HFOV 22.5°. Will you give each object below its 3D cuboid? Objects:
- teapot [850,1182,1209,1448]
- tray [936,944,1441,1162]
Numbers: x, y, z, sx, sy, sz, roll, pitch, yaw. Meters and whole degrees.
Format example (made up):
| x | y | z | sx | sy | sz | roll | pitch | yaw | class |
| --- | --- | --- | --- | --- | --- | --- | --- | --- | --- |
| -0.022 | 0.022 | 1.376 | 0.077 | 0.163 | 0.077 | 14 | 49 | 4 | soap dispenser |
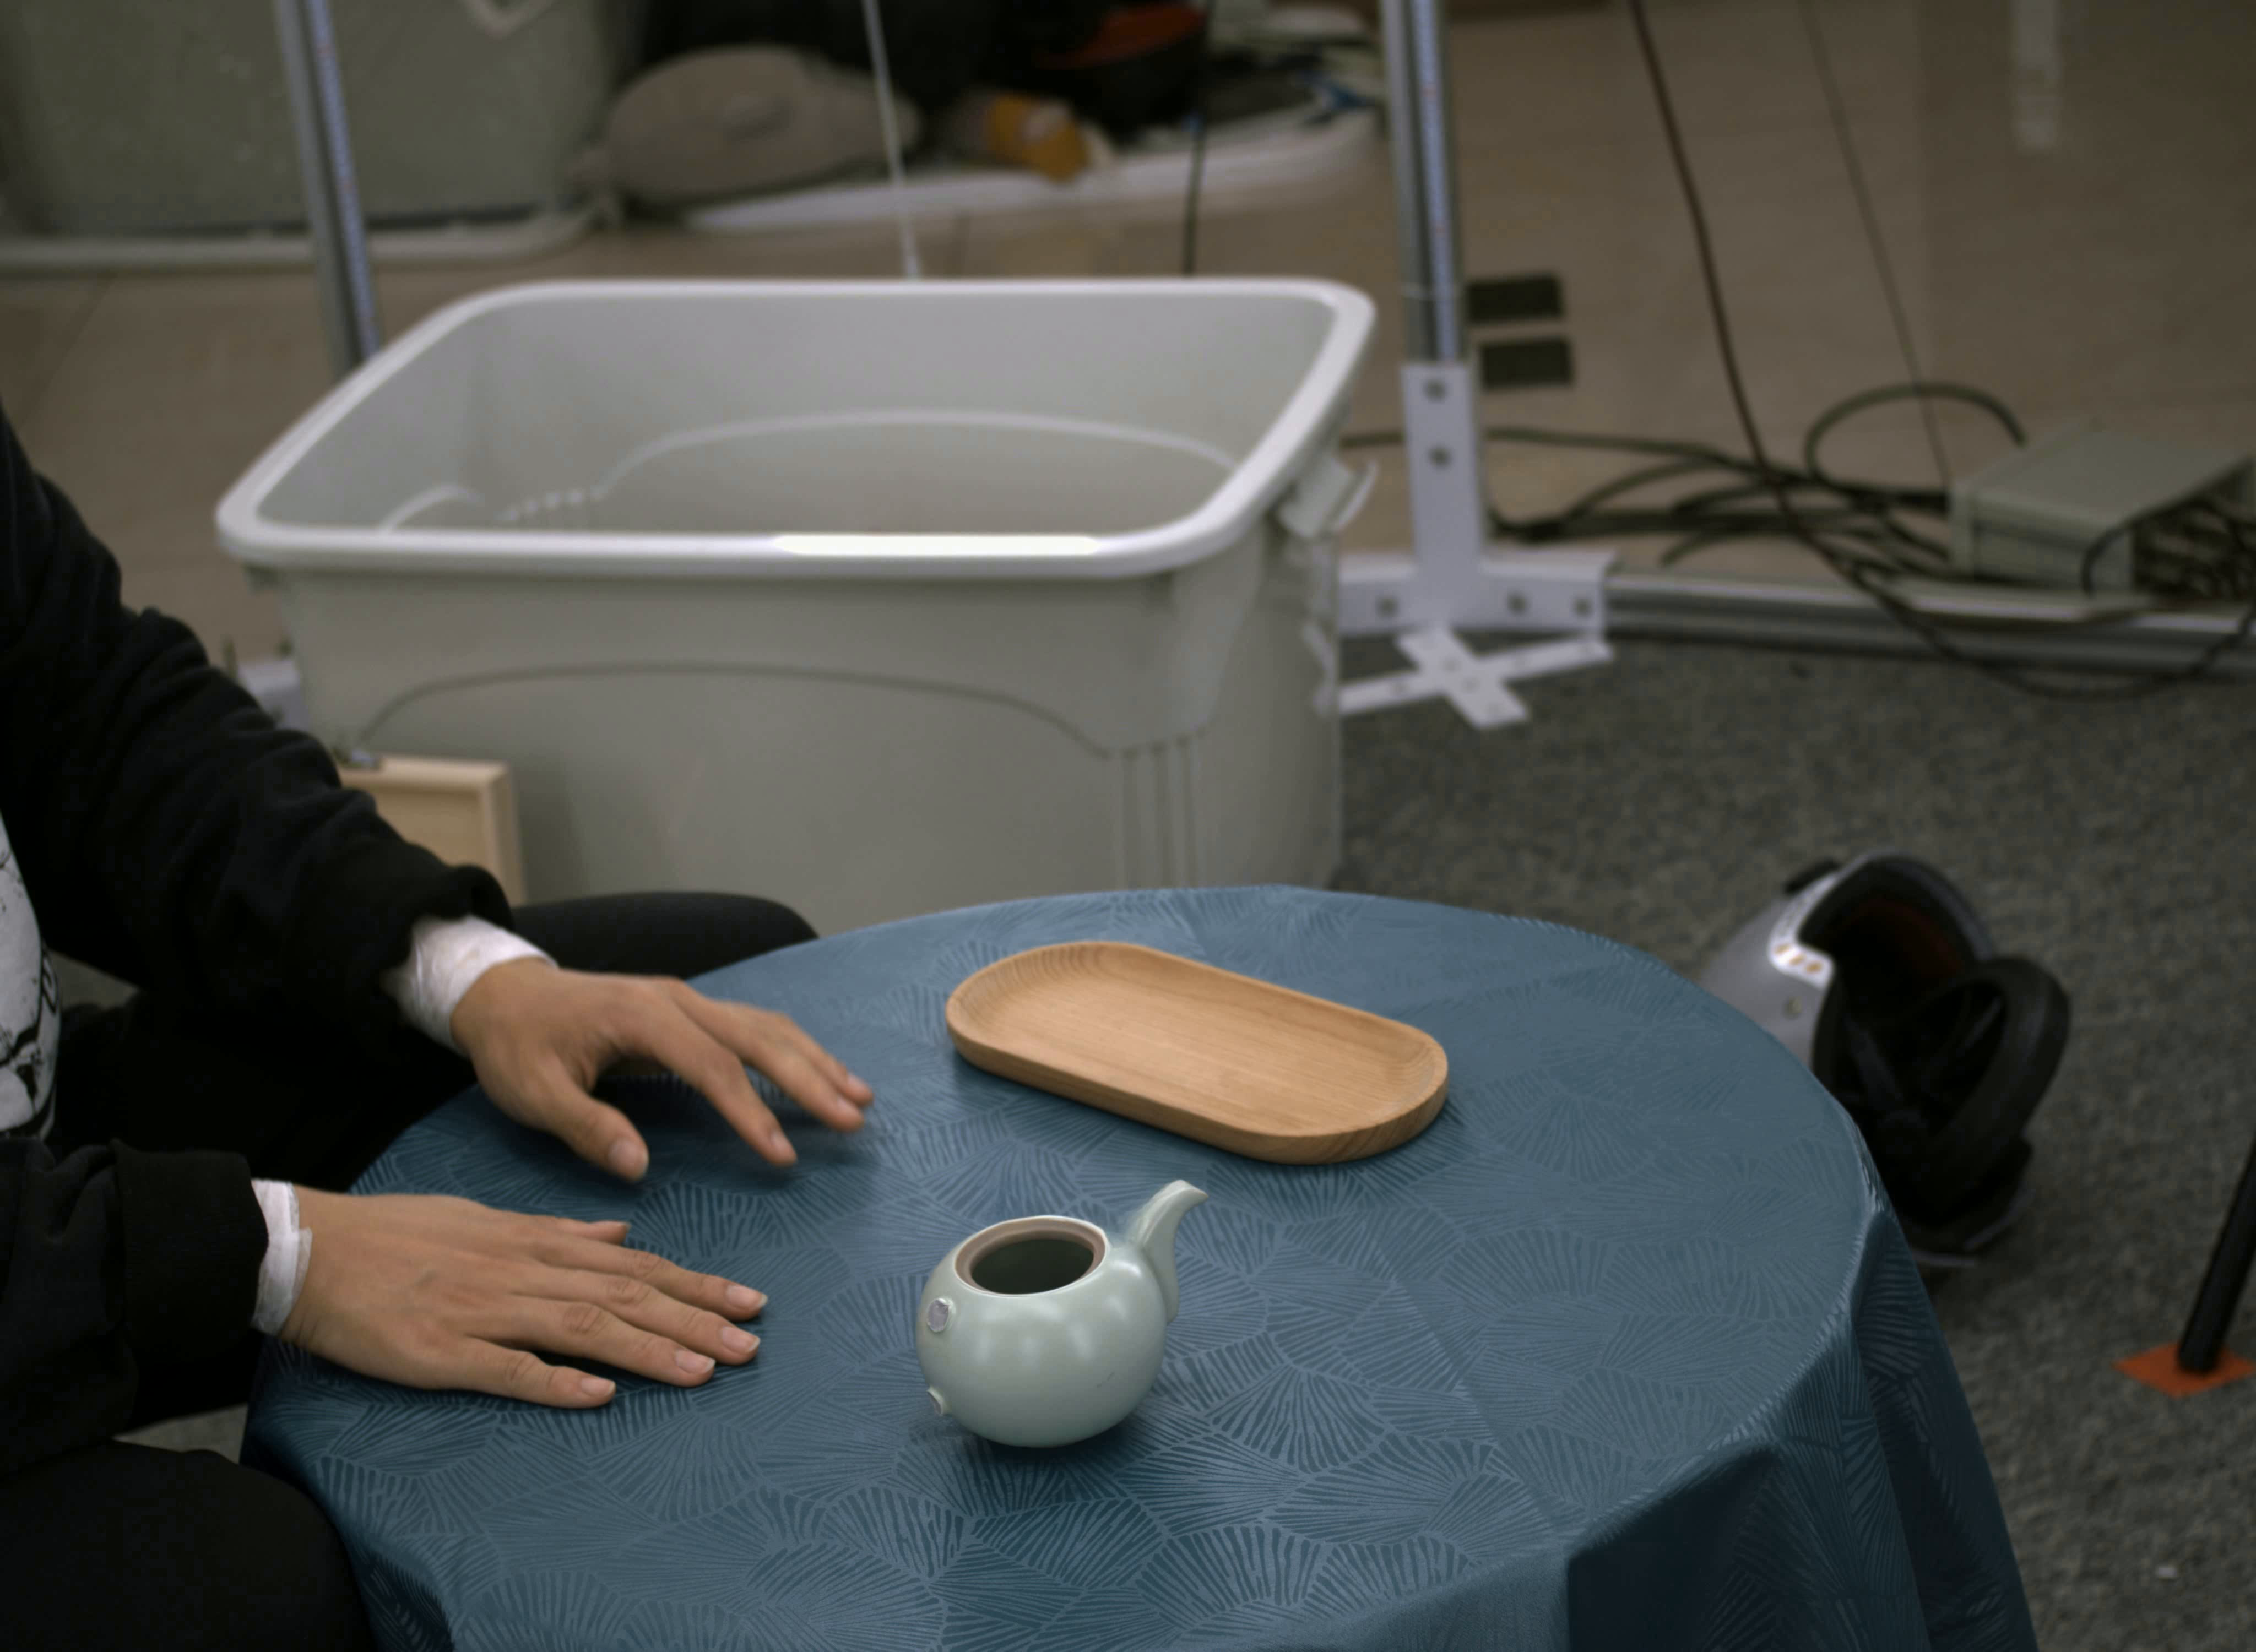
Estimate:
| x | y | z | sx | sy | sz | roll | pitch | yaw | class |
| --- | --- | --- | --- | --- | --- | --- | --- | --- | --- |
| -0.031 | 0.176 | 1.991 | 0.143 | 0.076 | 0.087 | -17 | 27 | -24 | teapot |
| 0.023 | 0.089 | 2.234 | 0.230 | 0.020 | 0.101 | 14 | 30 | 40 | tray |
